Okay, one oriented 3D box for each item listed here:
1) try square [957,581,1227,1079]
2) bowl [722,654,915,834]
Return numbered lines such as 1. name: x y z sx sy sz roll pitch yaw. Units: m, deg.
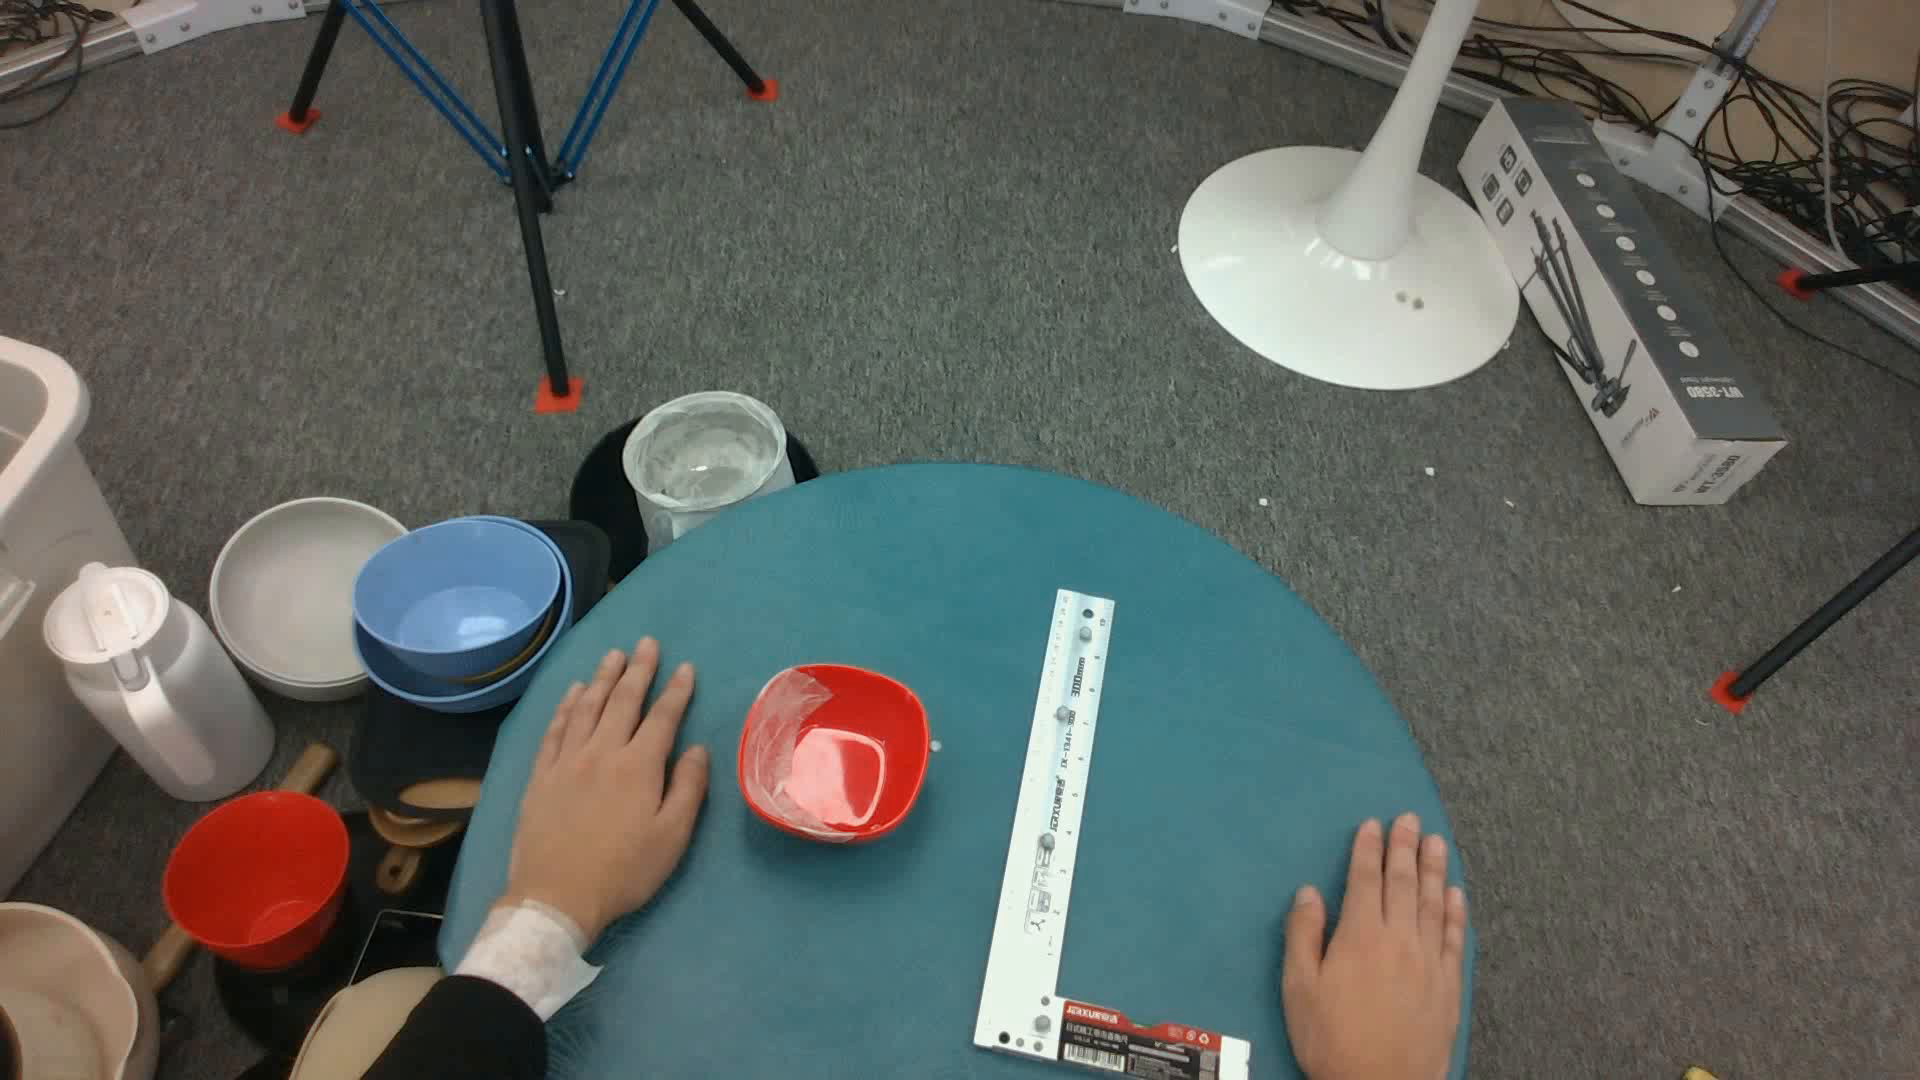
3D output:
1. try square: 0.099 0.169 0.846 0.152 0.016 0.314 15 53 -2
2. bowl: -0.084 0.129 0.819 0.119 0.051 0.119 5 54 -6
